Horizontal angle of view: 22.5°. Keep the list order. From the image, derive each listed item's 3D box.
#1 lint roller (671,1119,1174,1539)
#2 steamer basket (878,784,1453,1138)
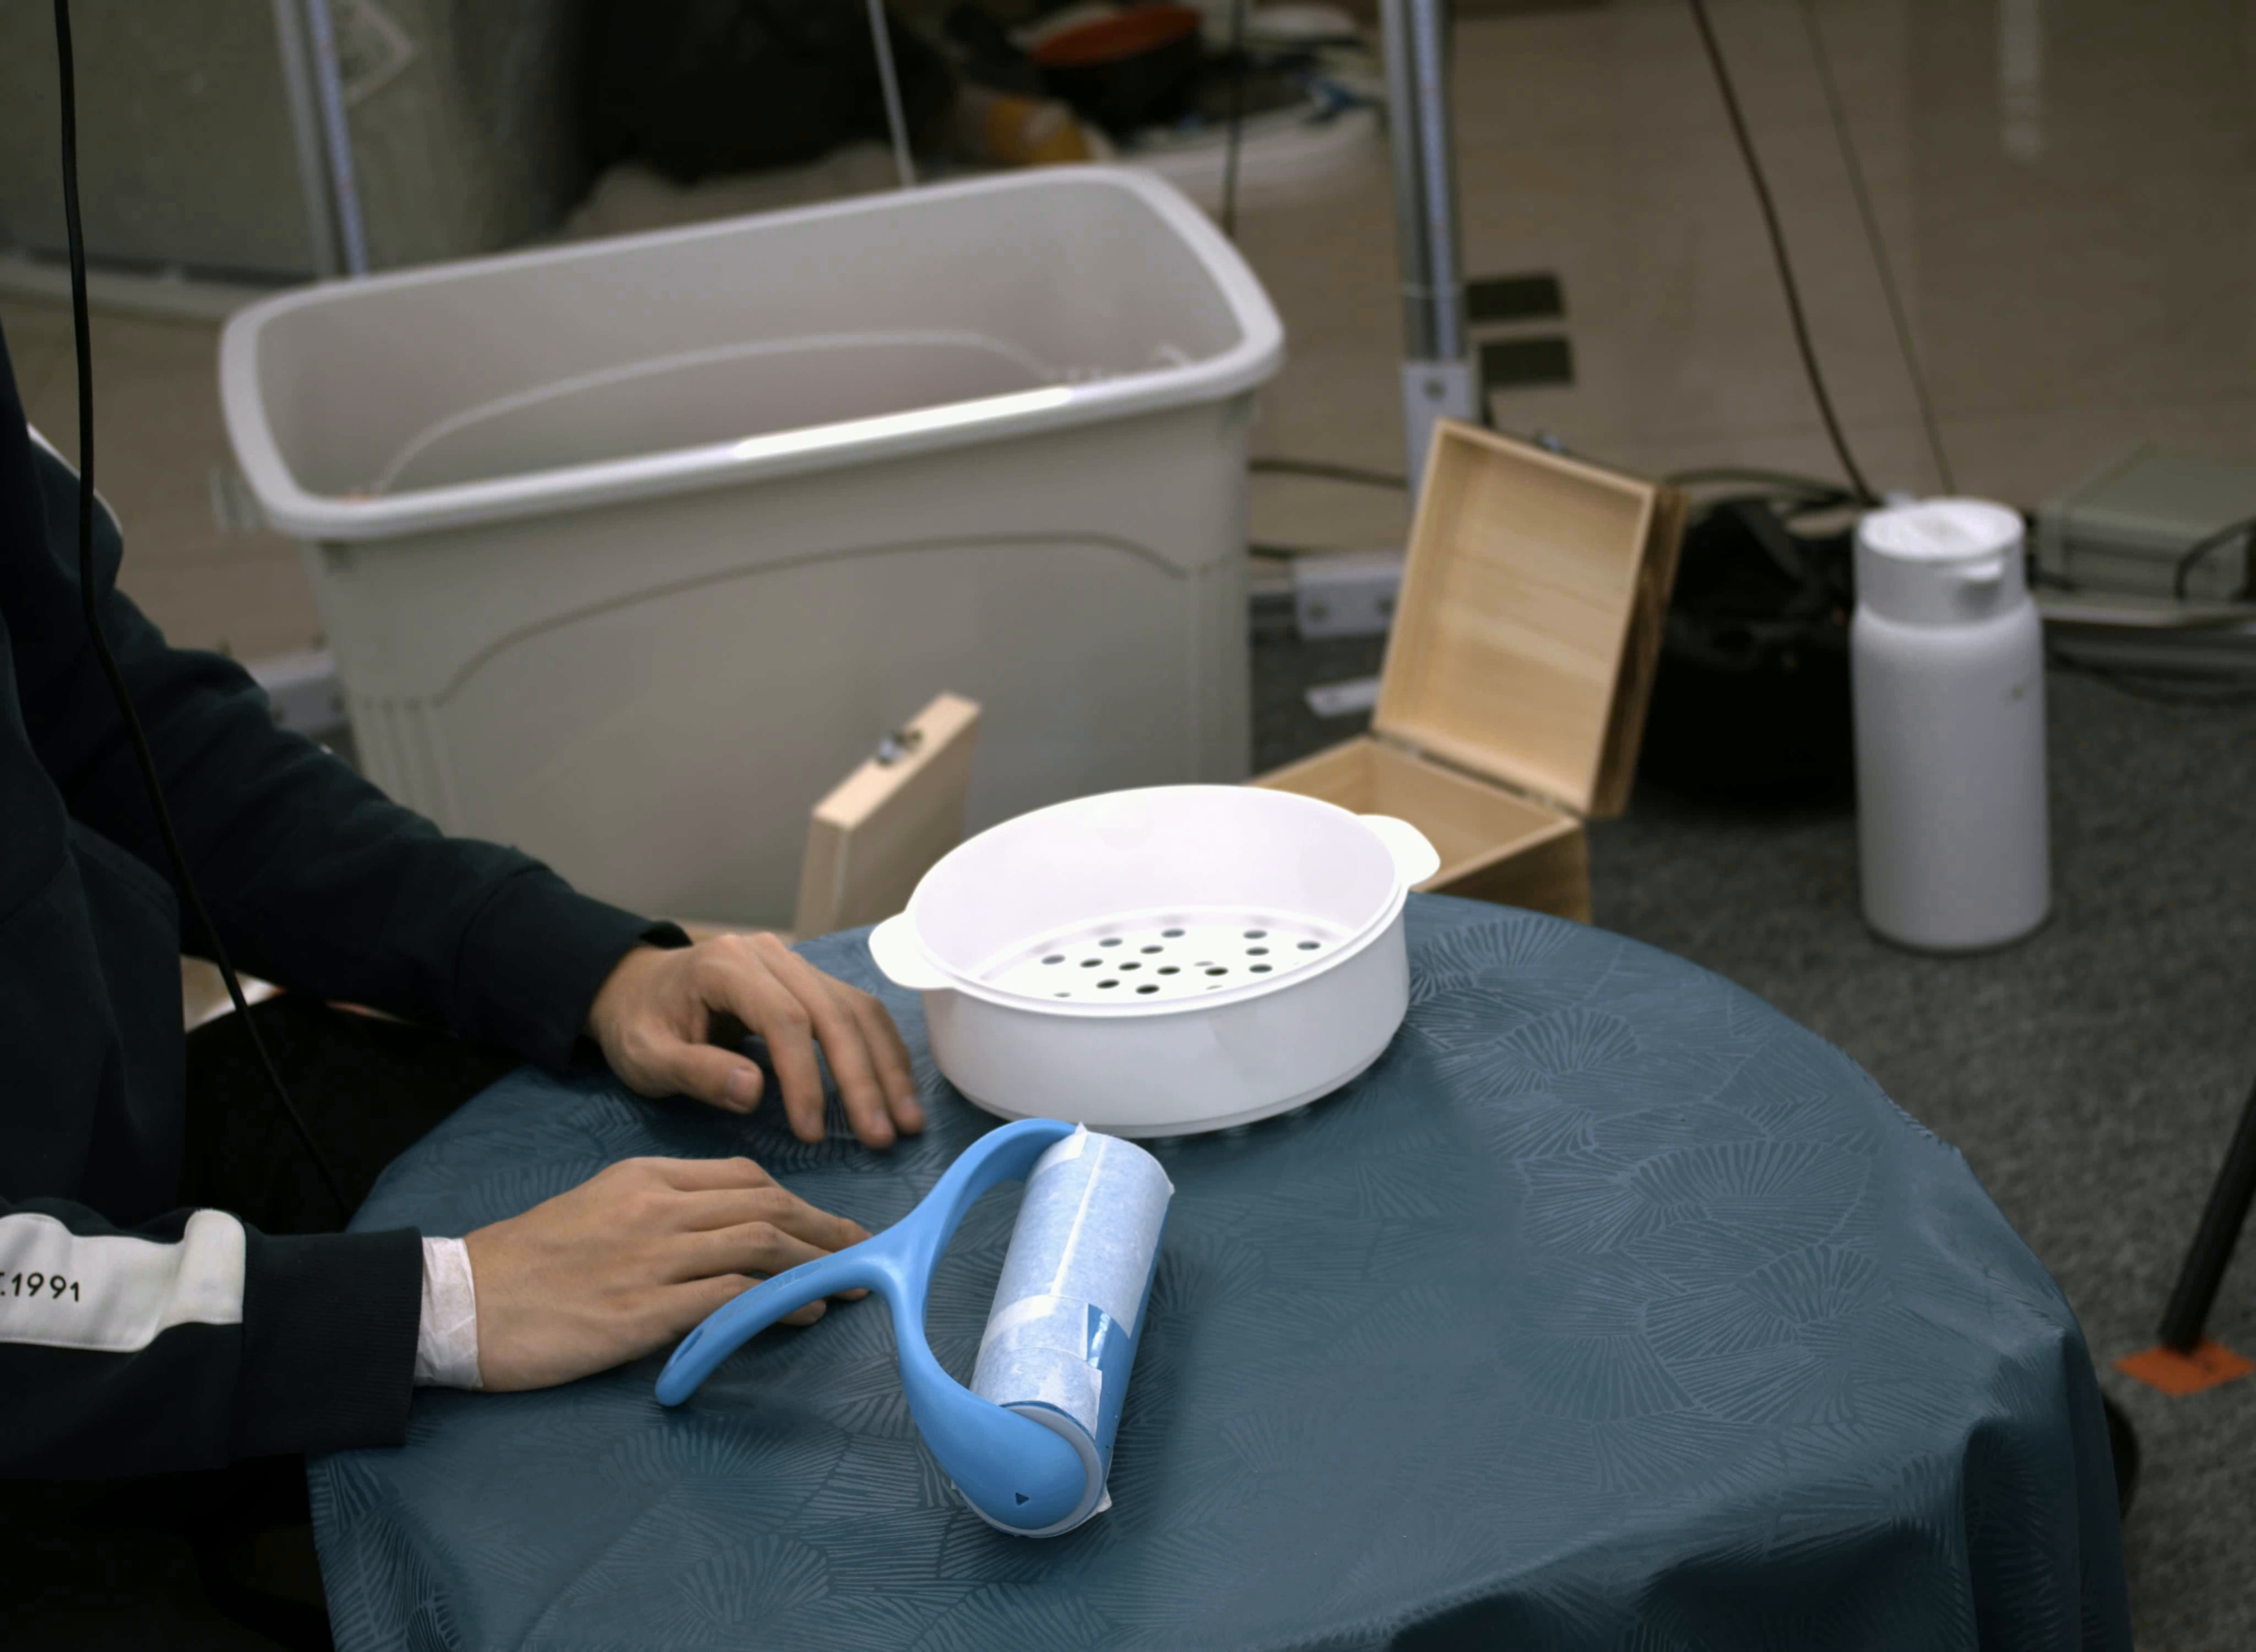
[{"bbox_3d":[-0.077,0.180,2.011,0.180,0.069,0.225,-3,27,5],"label":"lint roller"},{"bbox_3d":[0.019,0.054,2.240,0.230,0.070,0.199,-13,25,-11],"label":"steamer basket"}]
